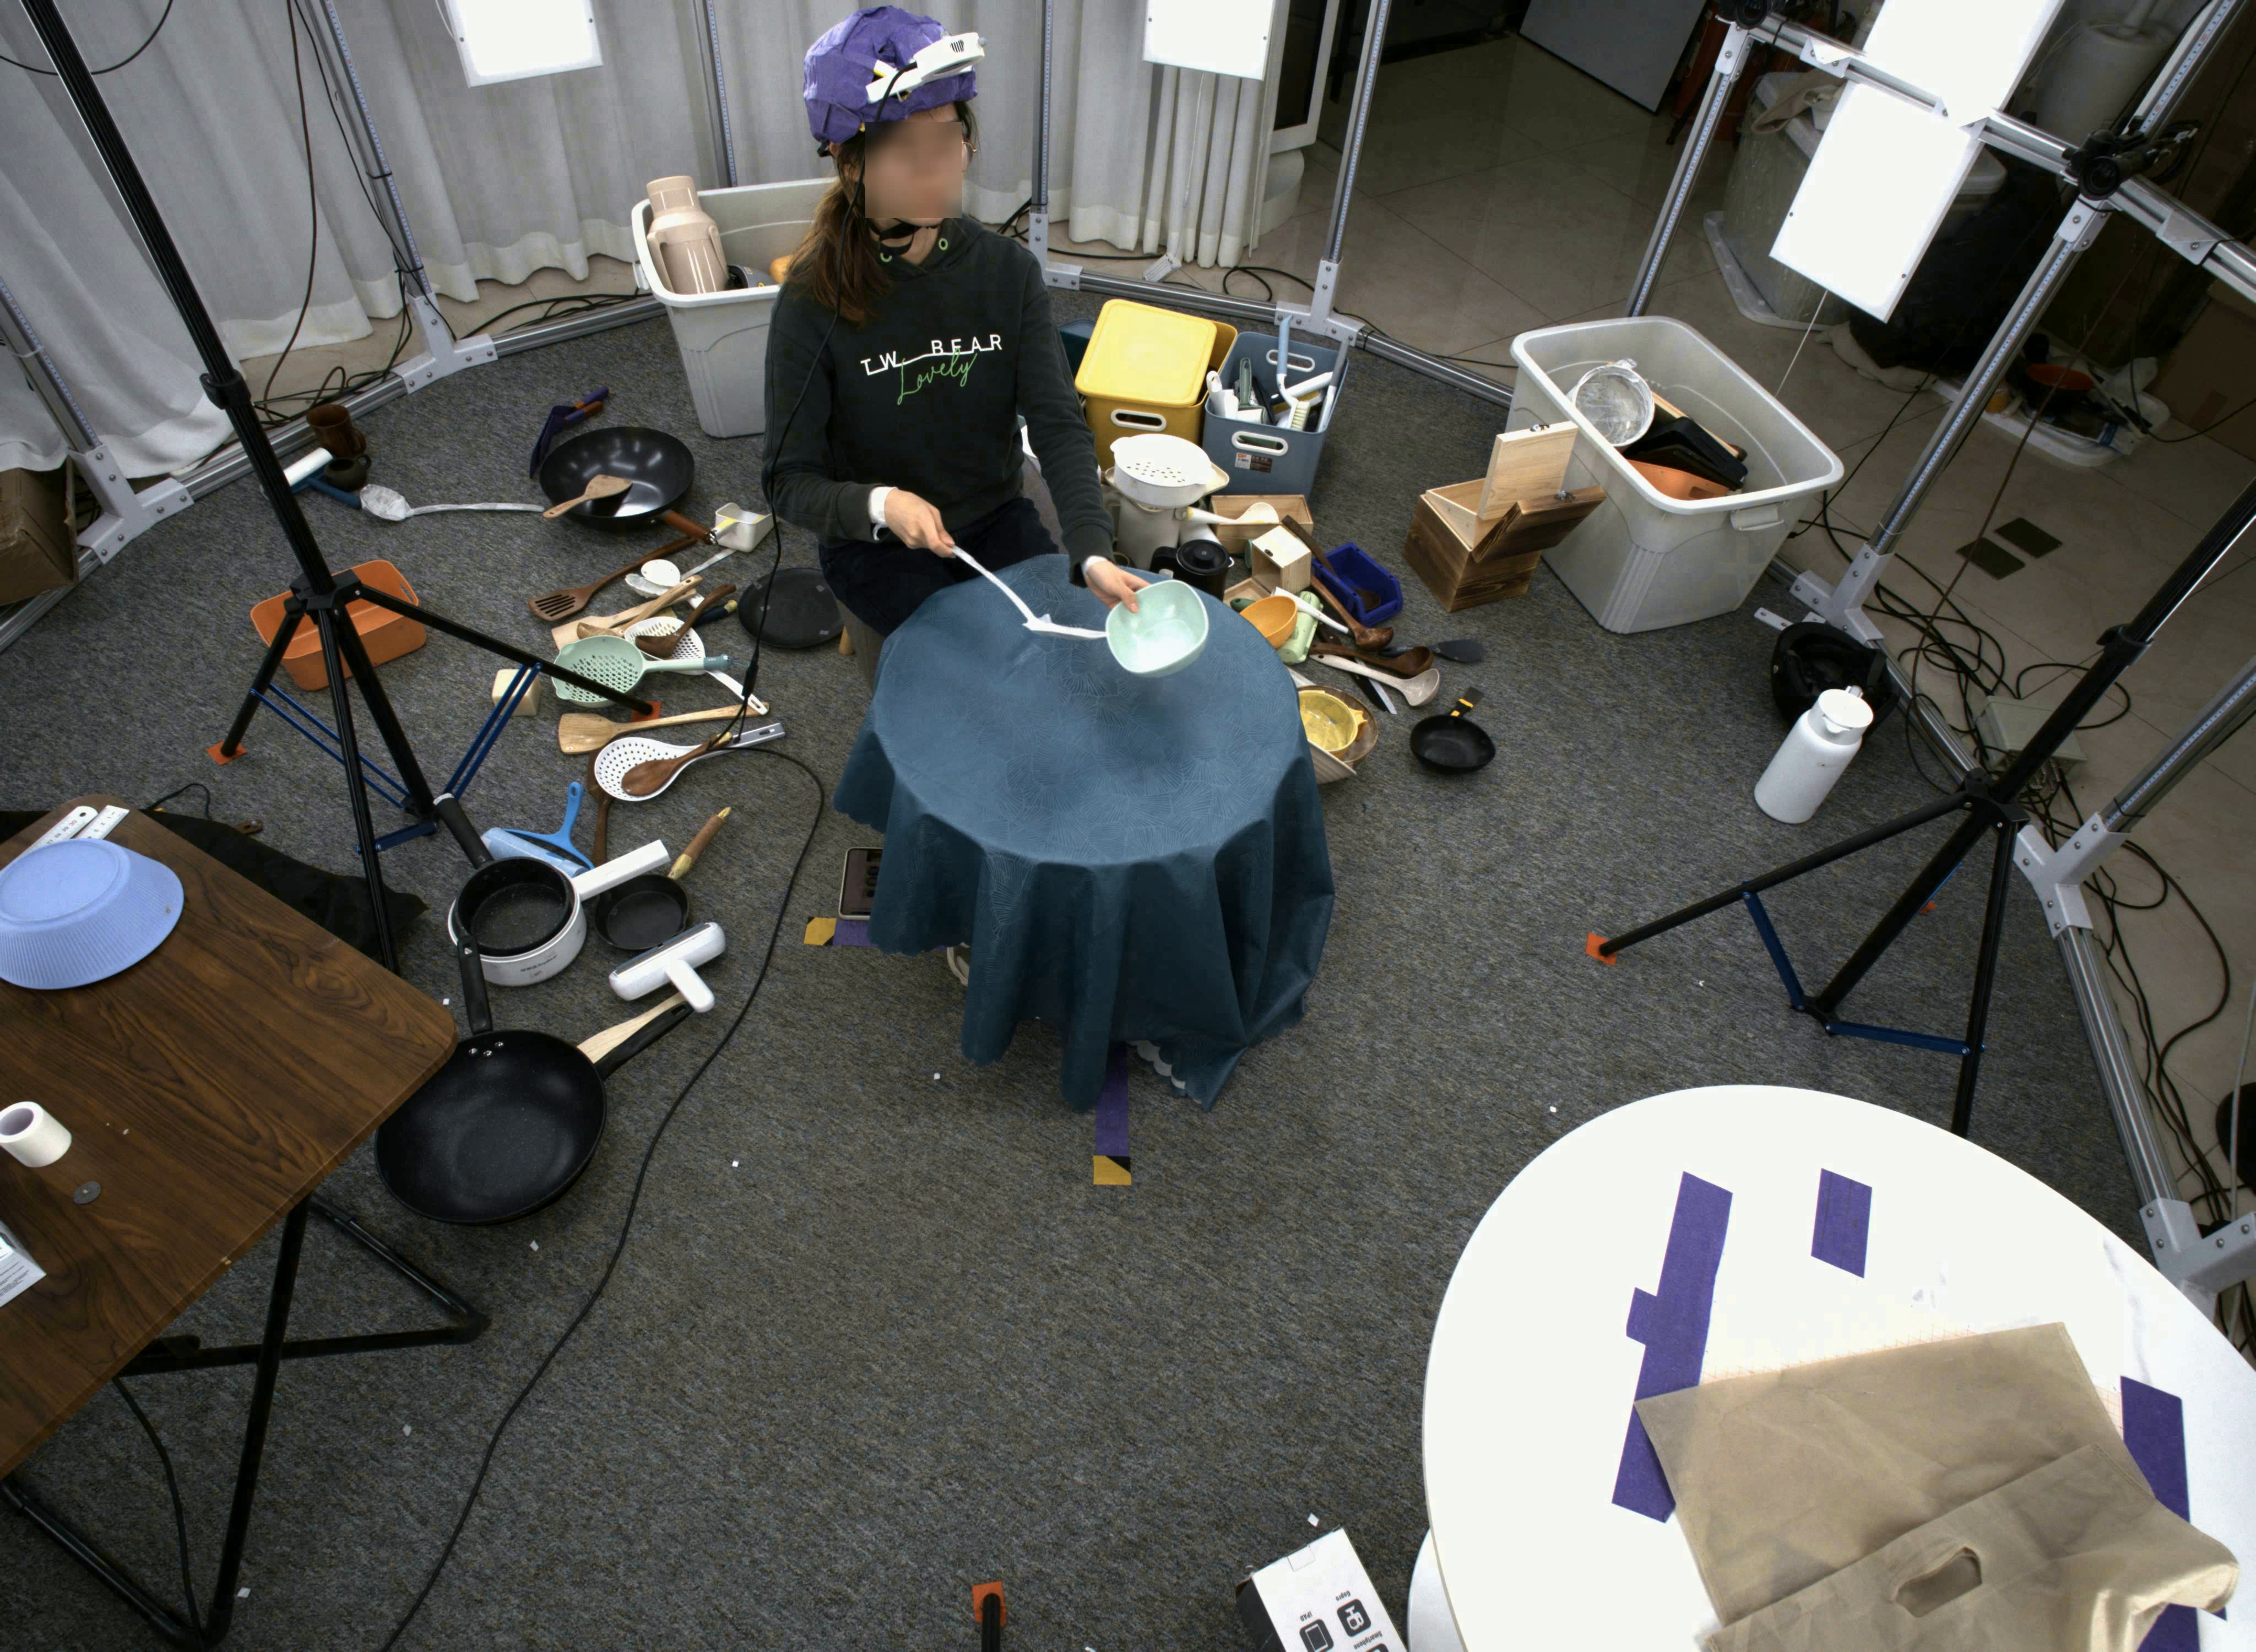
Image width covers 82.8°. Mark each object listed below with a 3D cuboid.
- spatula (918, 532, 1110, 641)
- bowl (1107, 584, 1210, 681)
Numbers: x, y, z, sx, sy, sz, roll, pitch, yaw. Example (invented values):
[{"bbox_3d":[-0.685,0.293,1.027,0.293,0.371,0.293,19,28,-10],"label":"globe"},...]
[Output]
[{"bbox_3d":[-0.172,-0.329,1.739,0.371,0.044,0.098,41,31,29],"label":"spatula"},{"bbox_3d":[0.048,-0.256,1.773,0.151,0.057,0.155,-8,60,14],"label":"bowl"}]
